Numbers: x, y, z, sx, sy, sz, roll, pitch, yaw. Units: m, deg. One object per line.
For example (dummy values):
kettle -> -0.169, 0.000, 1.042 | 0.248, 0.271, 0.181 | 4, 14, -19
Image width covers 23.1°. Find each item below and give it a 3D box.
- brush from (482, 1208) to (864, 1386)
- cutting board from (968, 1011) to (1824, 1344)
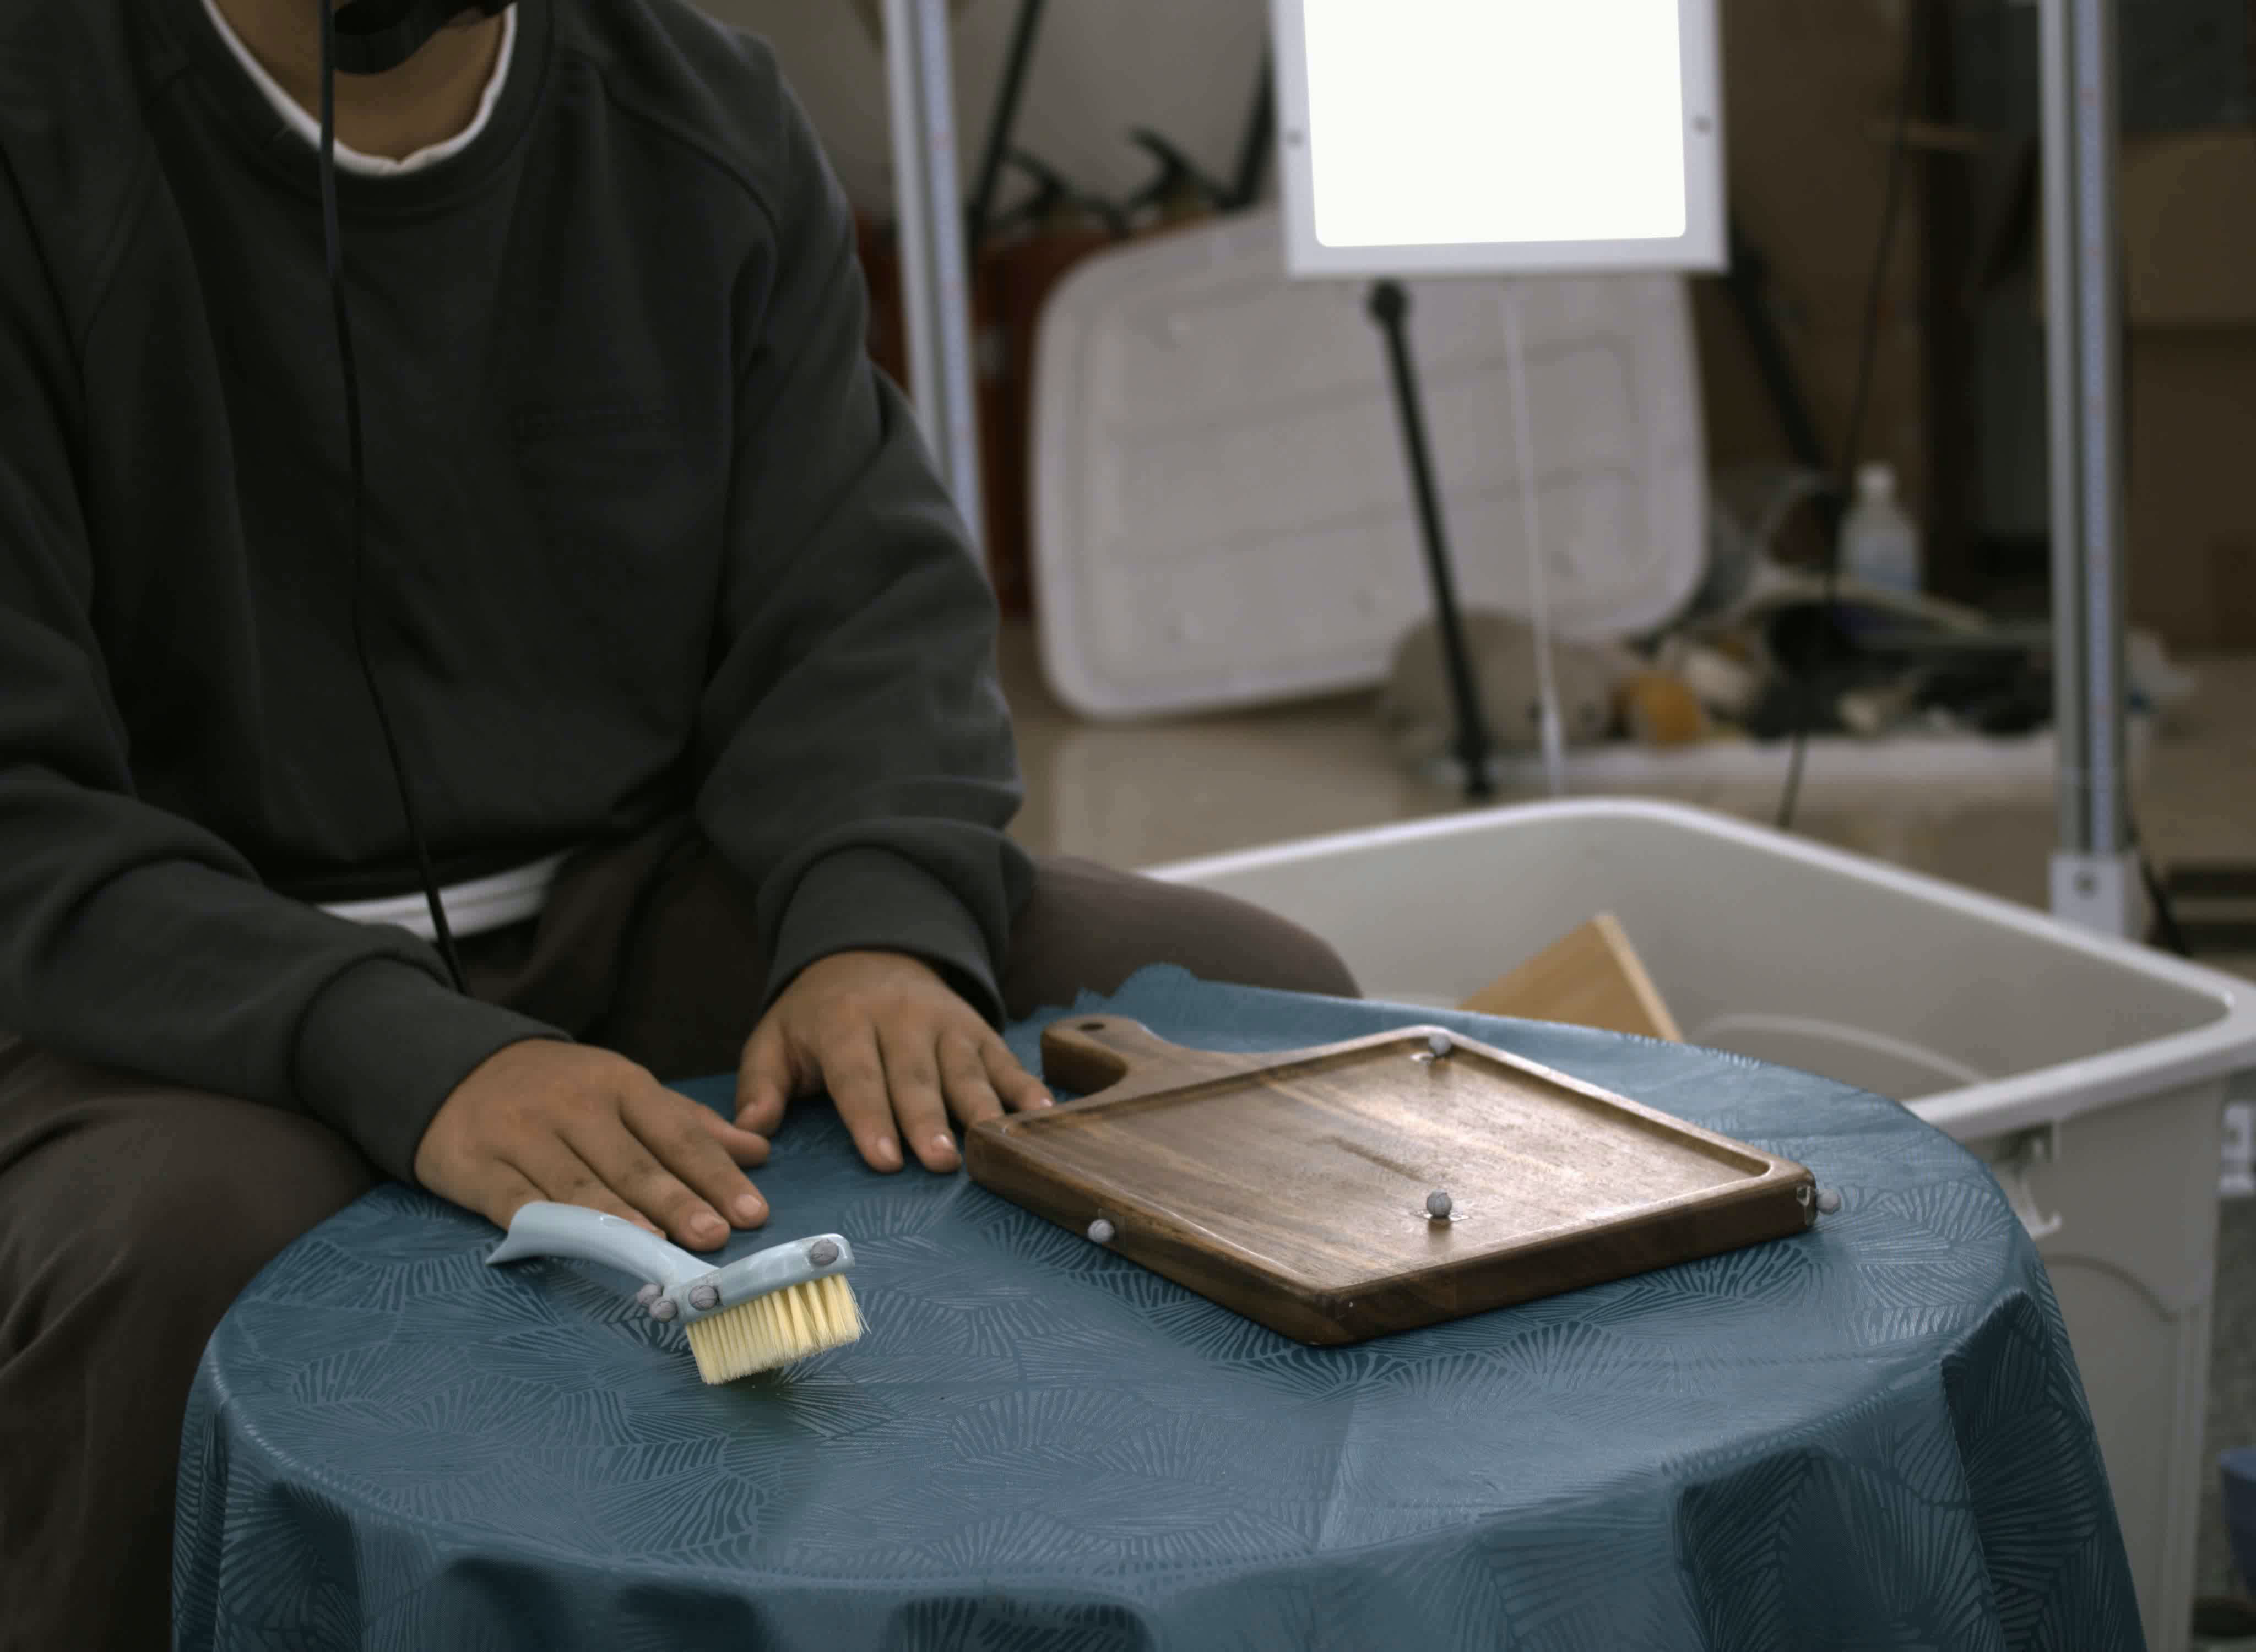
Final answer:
brush -> -0.152, 0.151, 1.787 | 0.037, 0.050, 0.233 | -11, 6, -32
cutting board -> 0.063, 0.109, 1.906 | 0.197, 0.023, 0.358 | -11, 14, -26
